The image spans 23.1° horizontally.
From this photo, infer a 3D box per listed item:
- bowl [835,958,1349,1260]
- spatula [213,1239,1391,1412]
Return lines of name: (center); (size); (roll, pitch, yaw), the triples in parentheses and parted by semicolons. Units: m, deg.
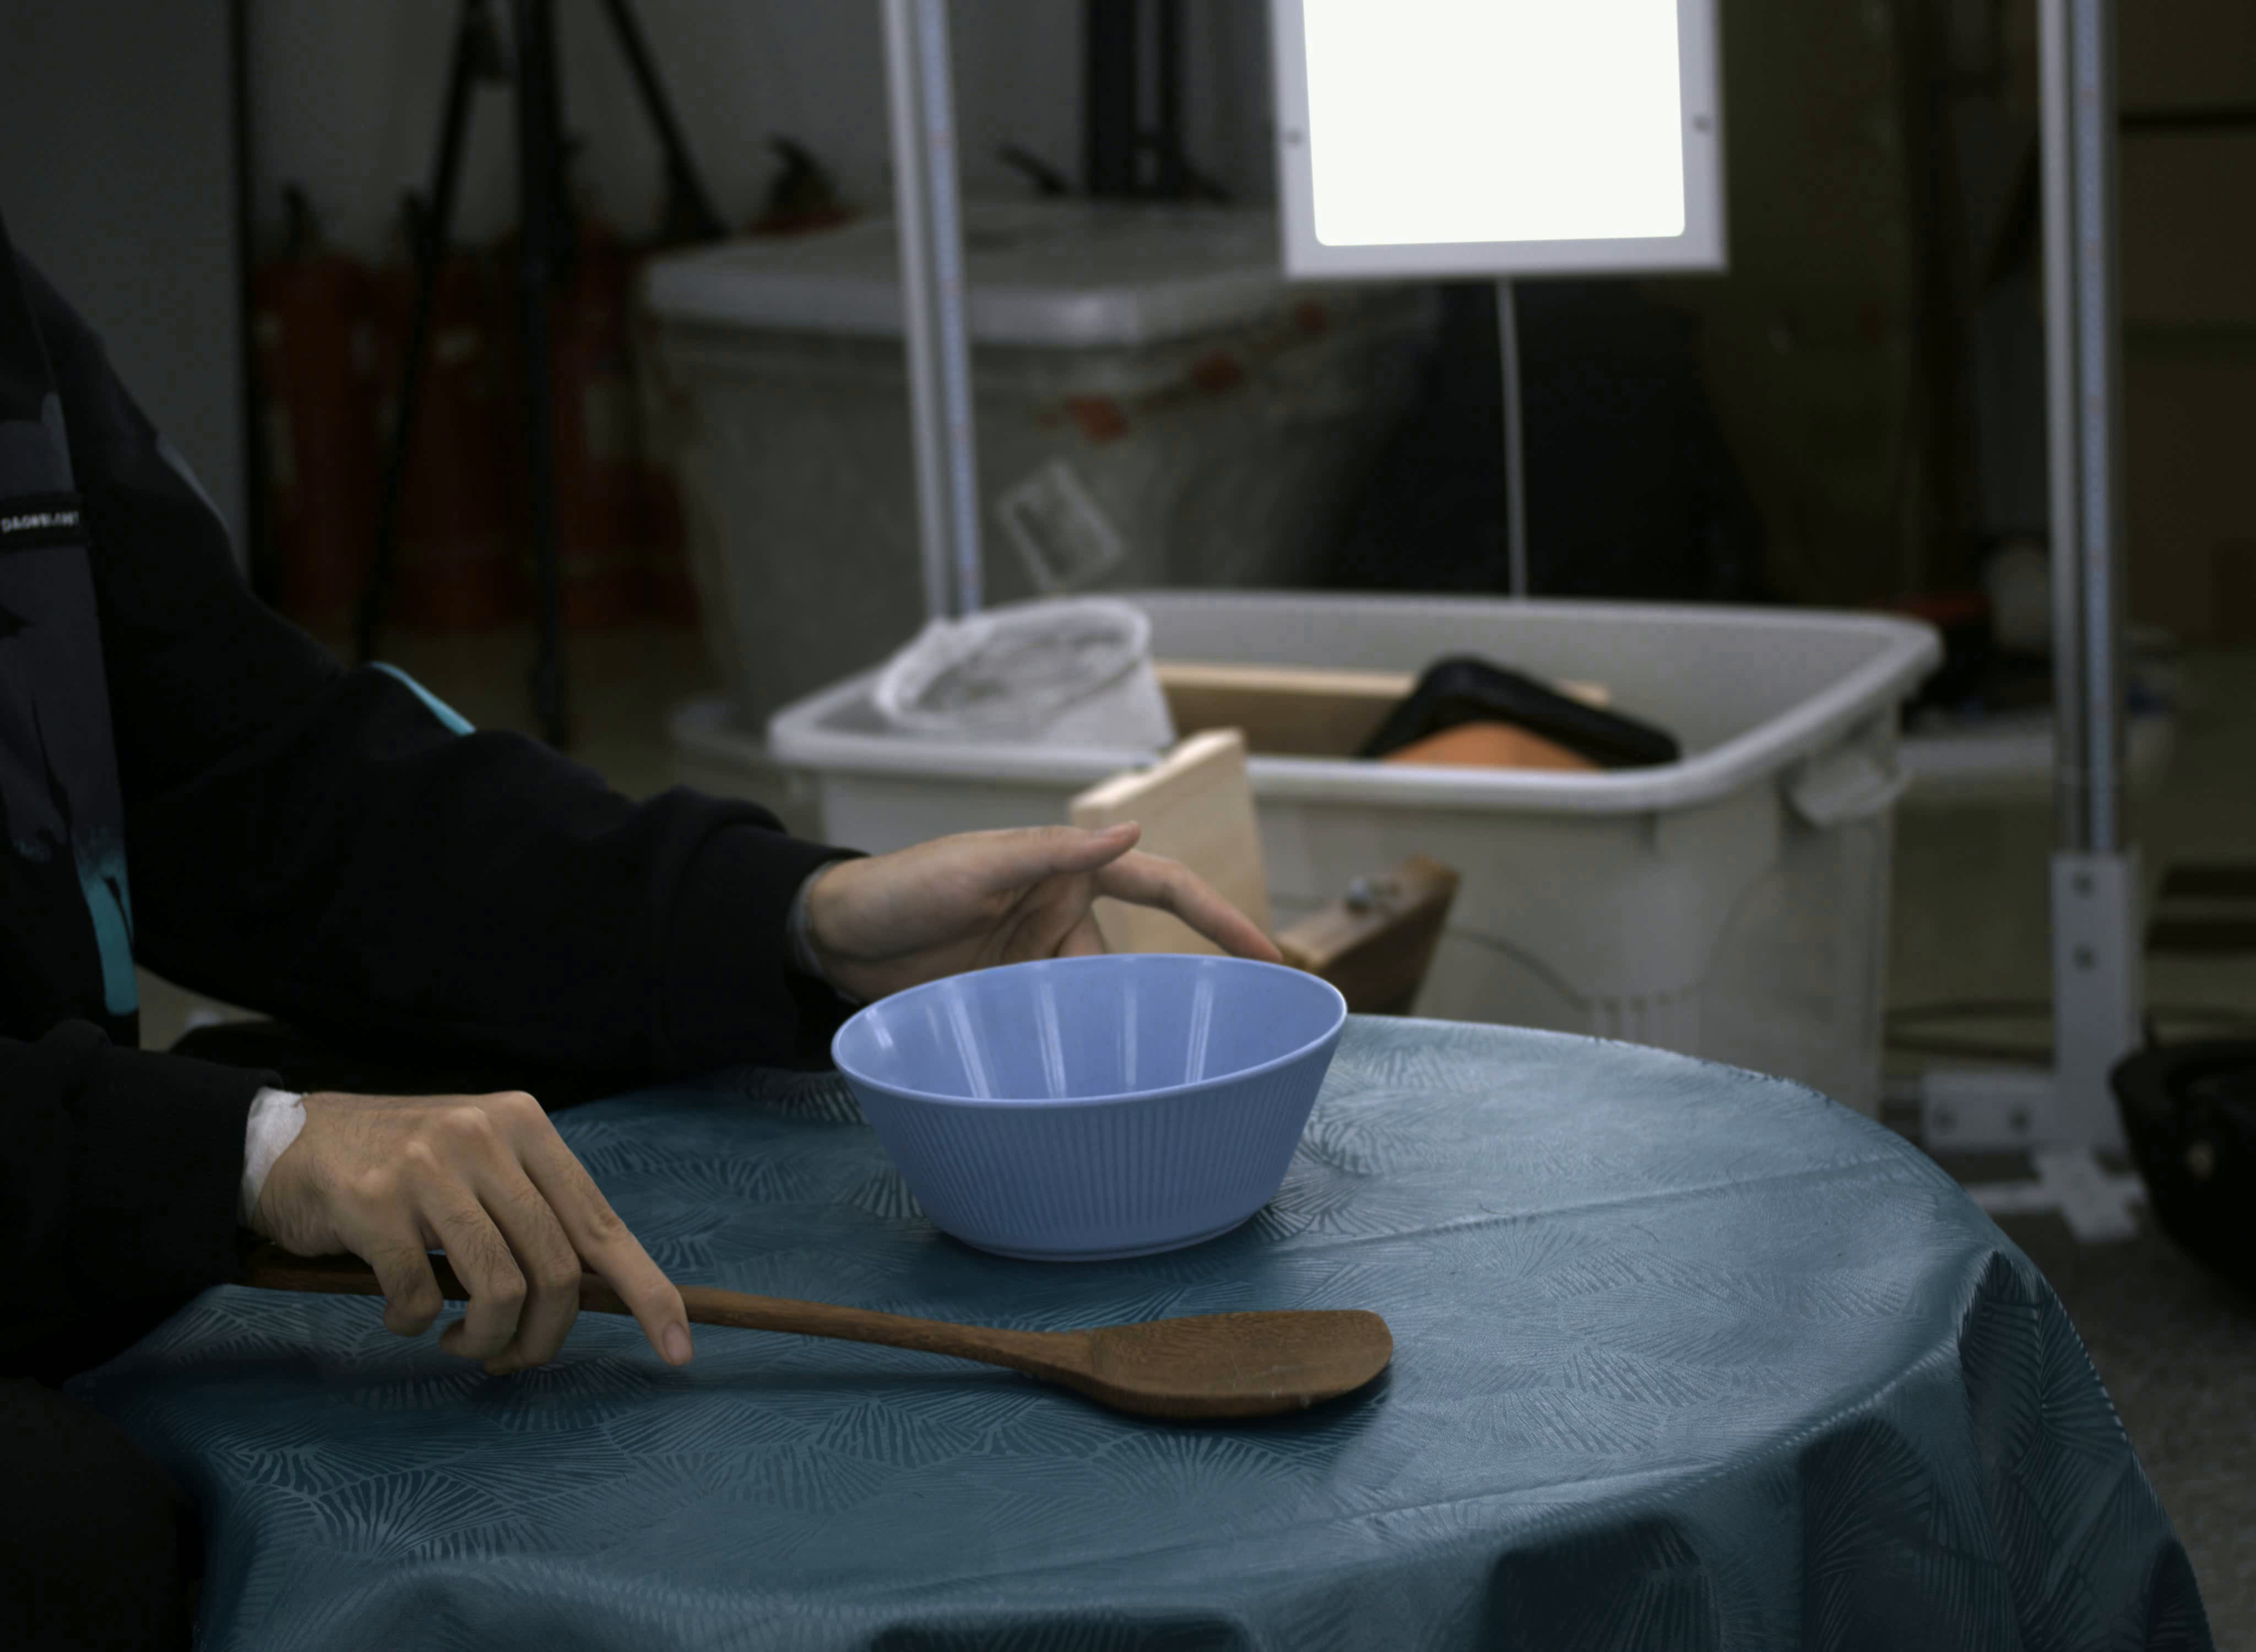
bowl: (-0.009, 0.098, 1.869); (0.175, 0.070, 0.176); (-6, 13, 0)
spatula: (-0.108, 0.154, 1.738); (0.389, 0.016, 0.095); (5, 12, 15)
